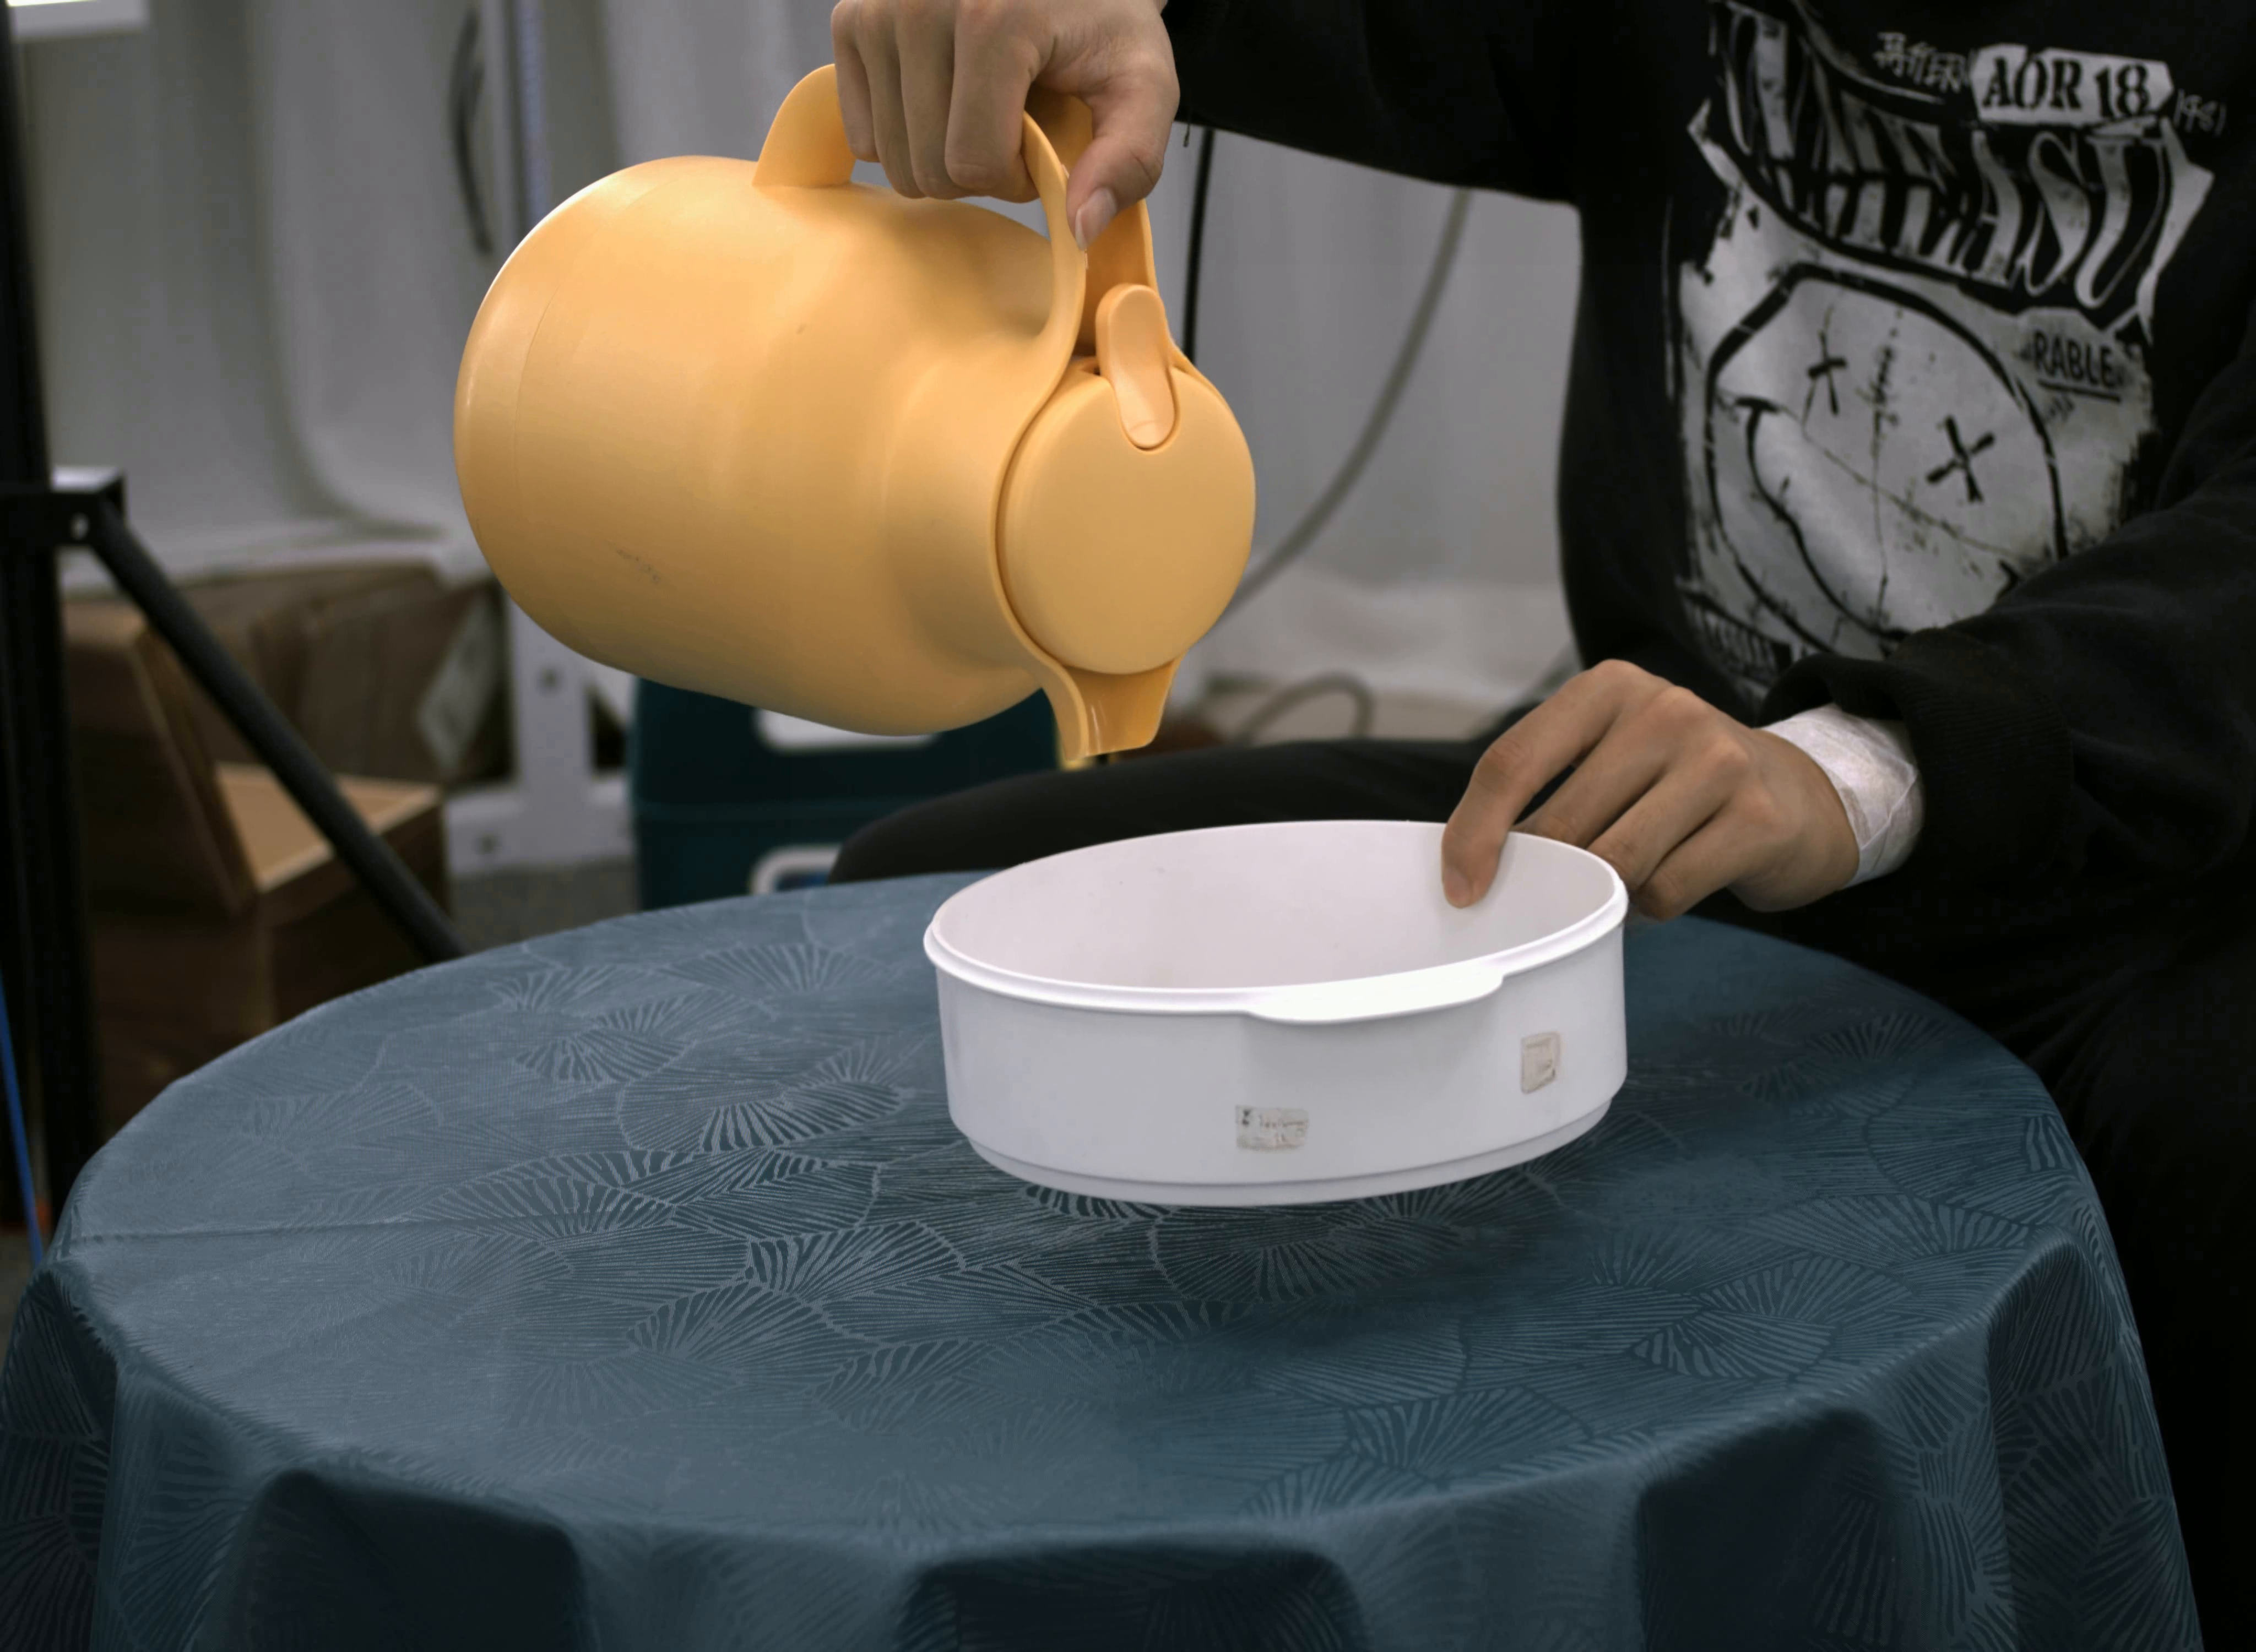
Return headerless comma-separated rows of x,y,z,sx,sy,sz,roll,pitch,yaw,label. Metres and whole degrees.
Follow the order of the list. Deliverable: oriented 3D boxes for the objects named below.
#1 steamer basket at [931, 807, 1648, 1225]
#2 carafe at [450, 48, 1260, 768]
0.046,0.053,1.495,0.199,0.069,0.234,-7,16,-13,steamer basket
-0.073,-0.129,1.578,0.159,0.203,0.266,-8,17,-40,carafe
